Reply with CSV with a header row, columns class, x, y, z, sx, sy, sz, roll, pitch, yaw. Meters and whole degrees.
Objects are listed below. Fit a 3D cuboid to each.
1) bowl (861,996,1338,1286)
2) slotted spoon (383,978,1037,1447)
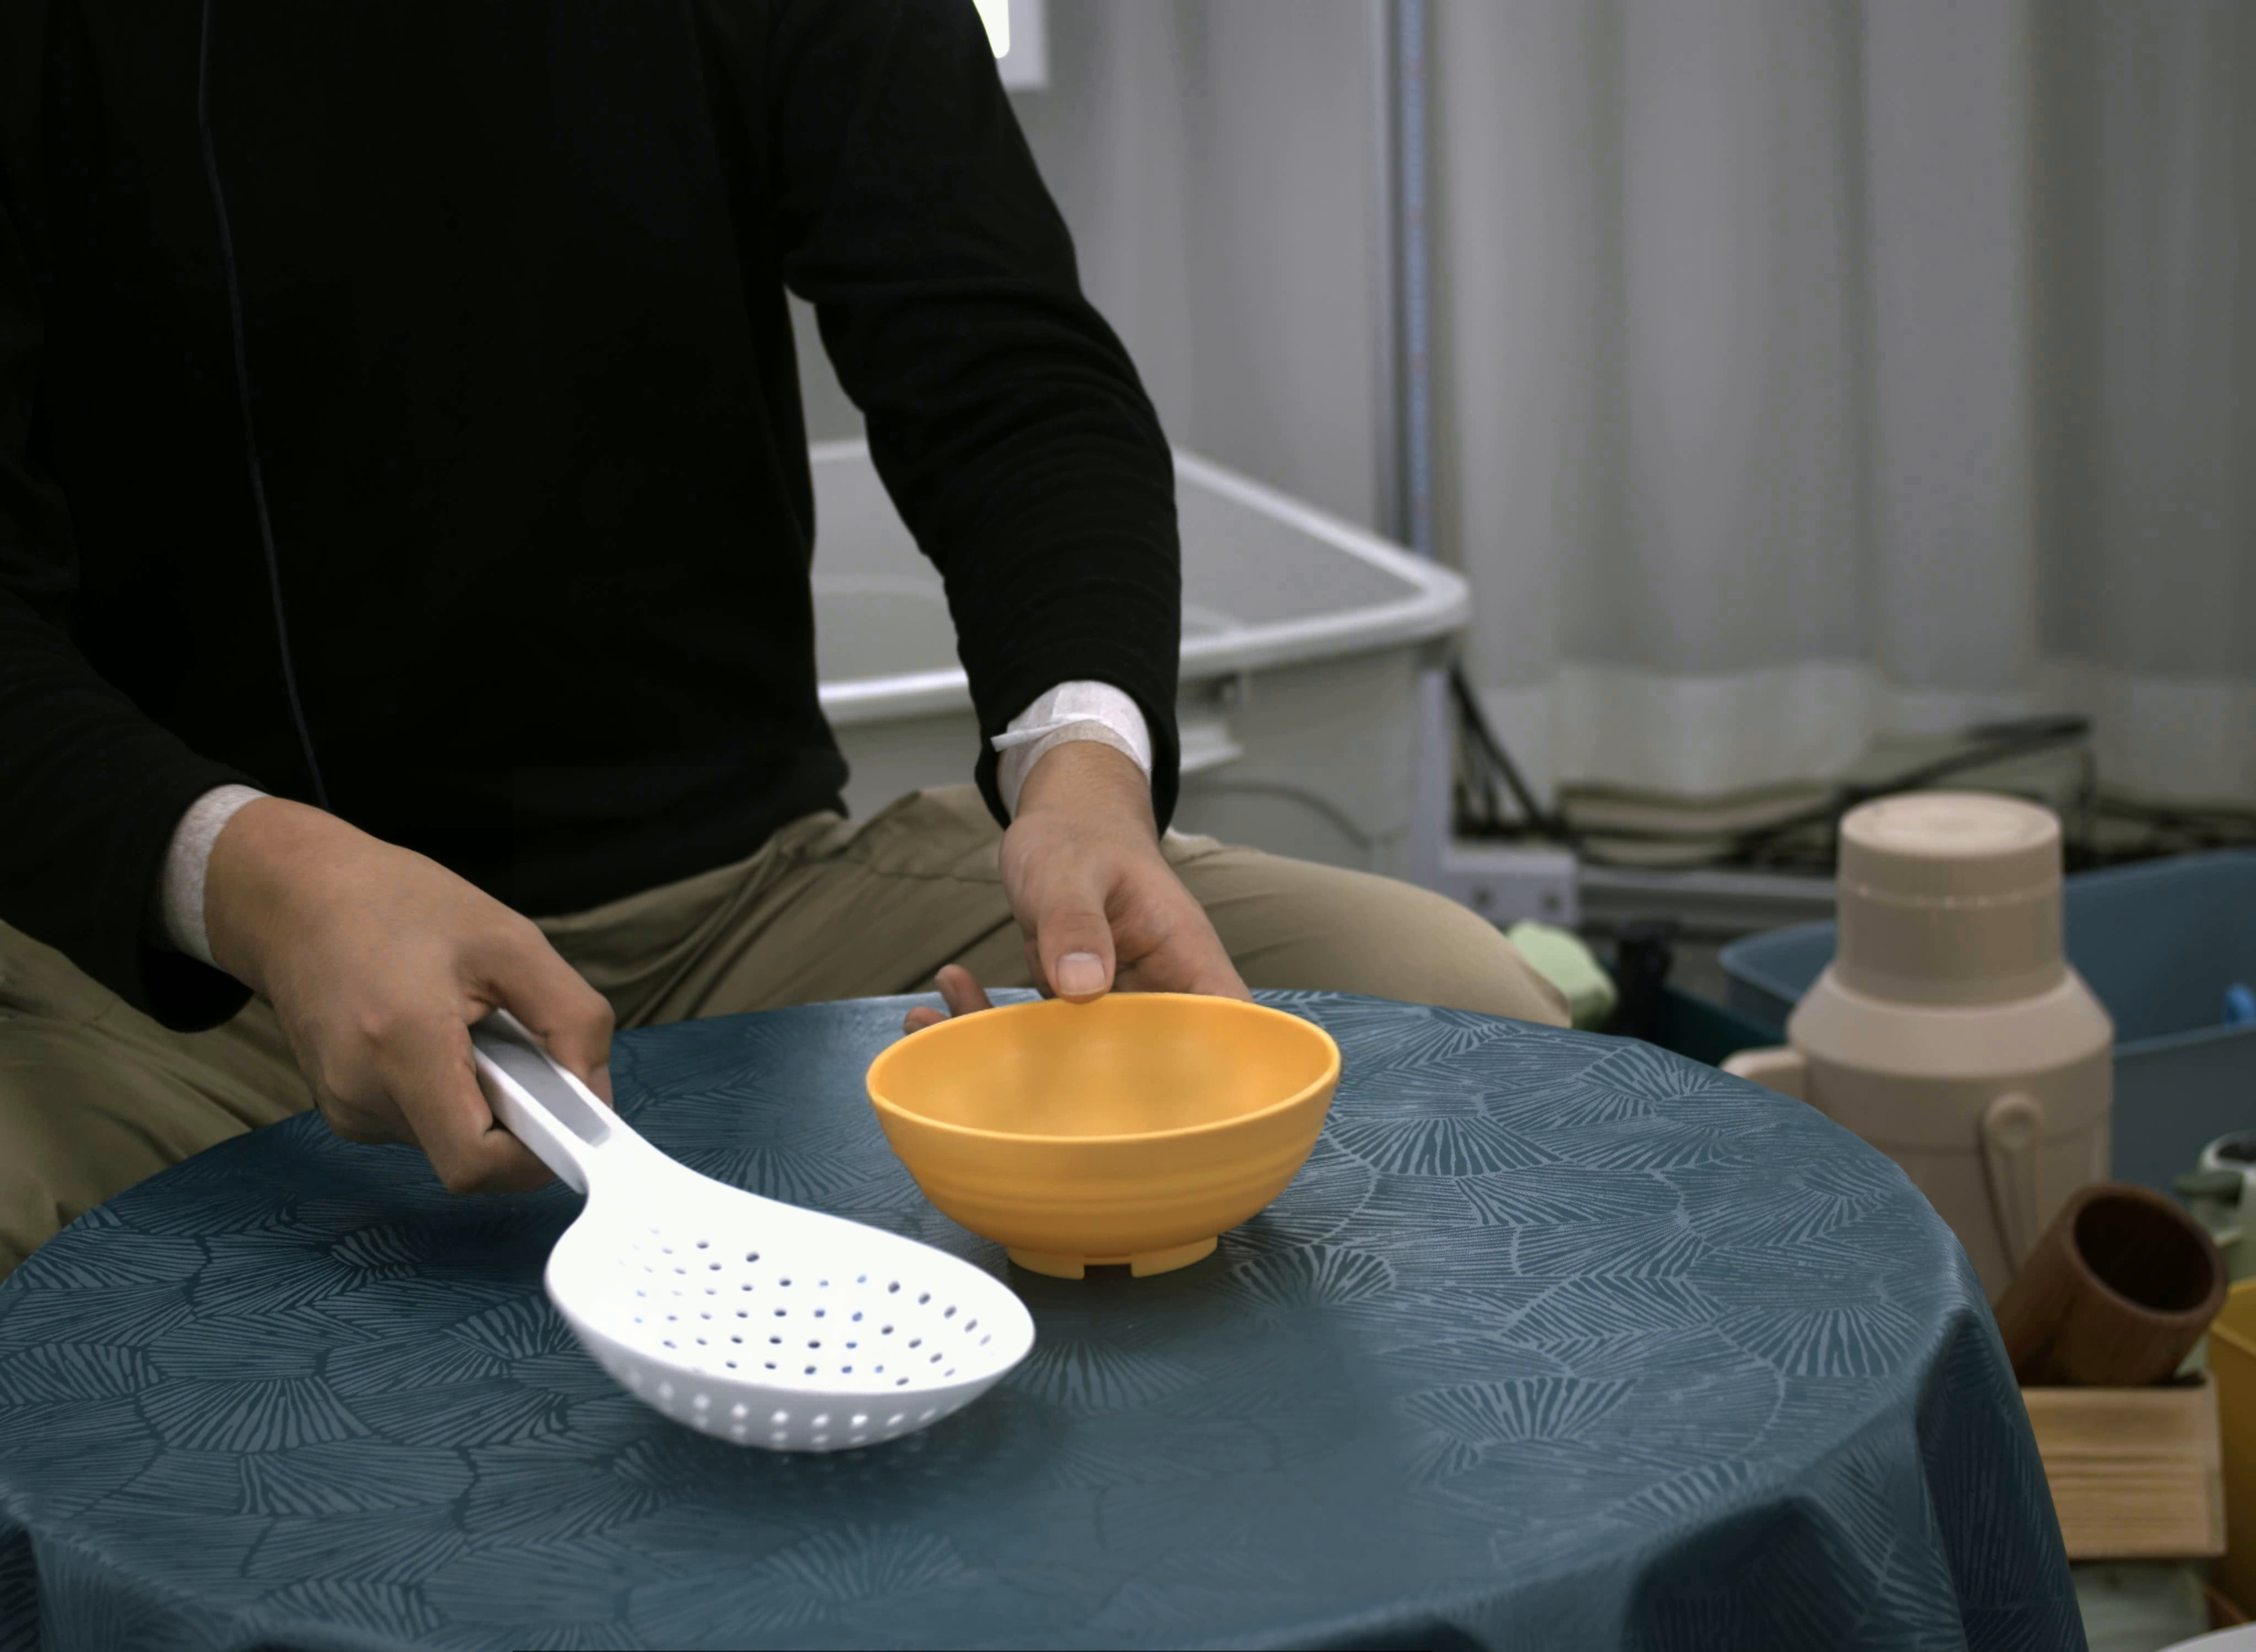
class,x,y,z,sx,sy,sz,roll,pitch,yaw
bowl,-0.008,0.101,1.659,0.145,0.060,0.146,-1,15,0
slotted spoon,-0.145,0.106,1.607,0.135,0.045,0.353,2,20,-30
